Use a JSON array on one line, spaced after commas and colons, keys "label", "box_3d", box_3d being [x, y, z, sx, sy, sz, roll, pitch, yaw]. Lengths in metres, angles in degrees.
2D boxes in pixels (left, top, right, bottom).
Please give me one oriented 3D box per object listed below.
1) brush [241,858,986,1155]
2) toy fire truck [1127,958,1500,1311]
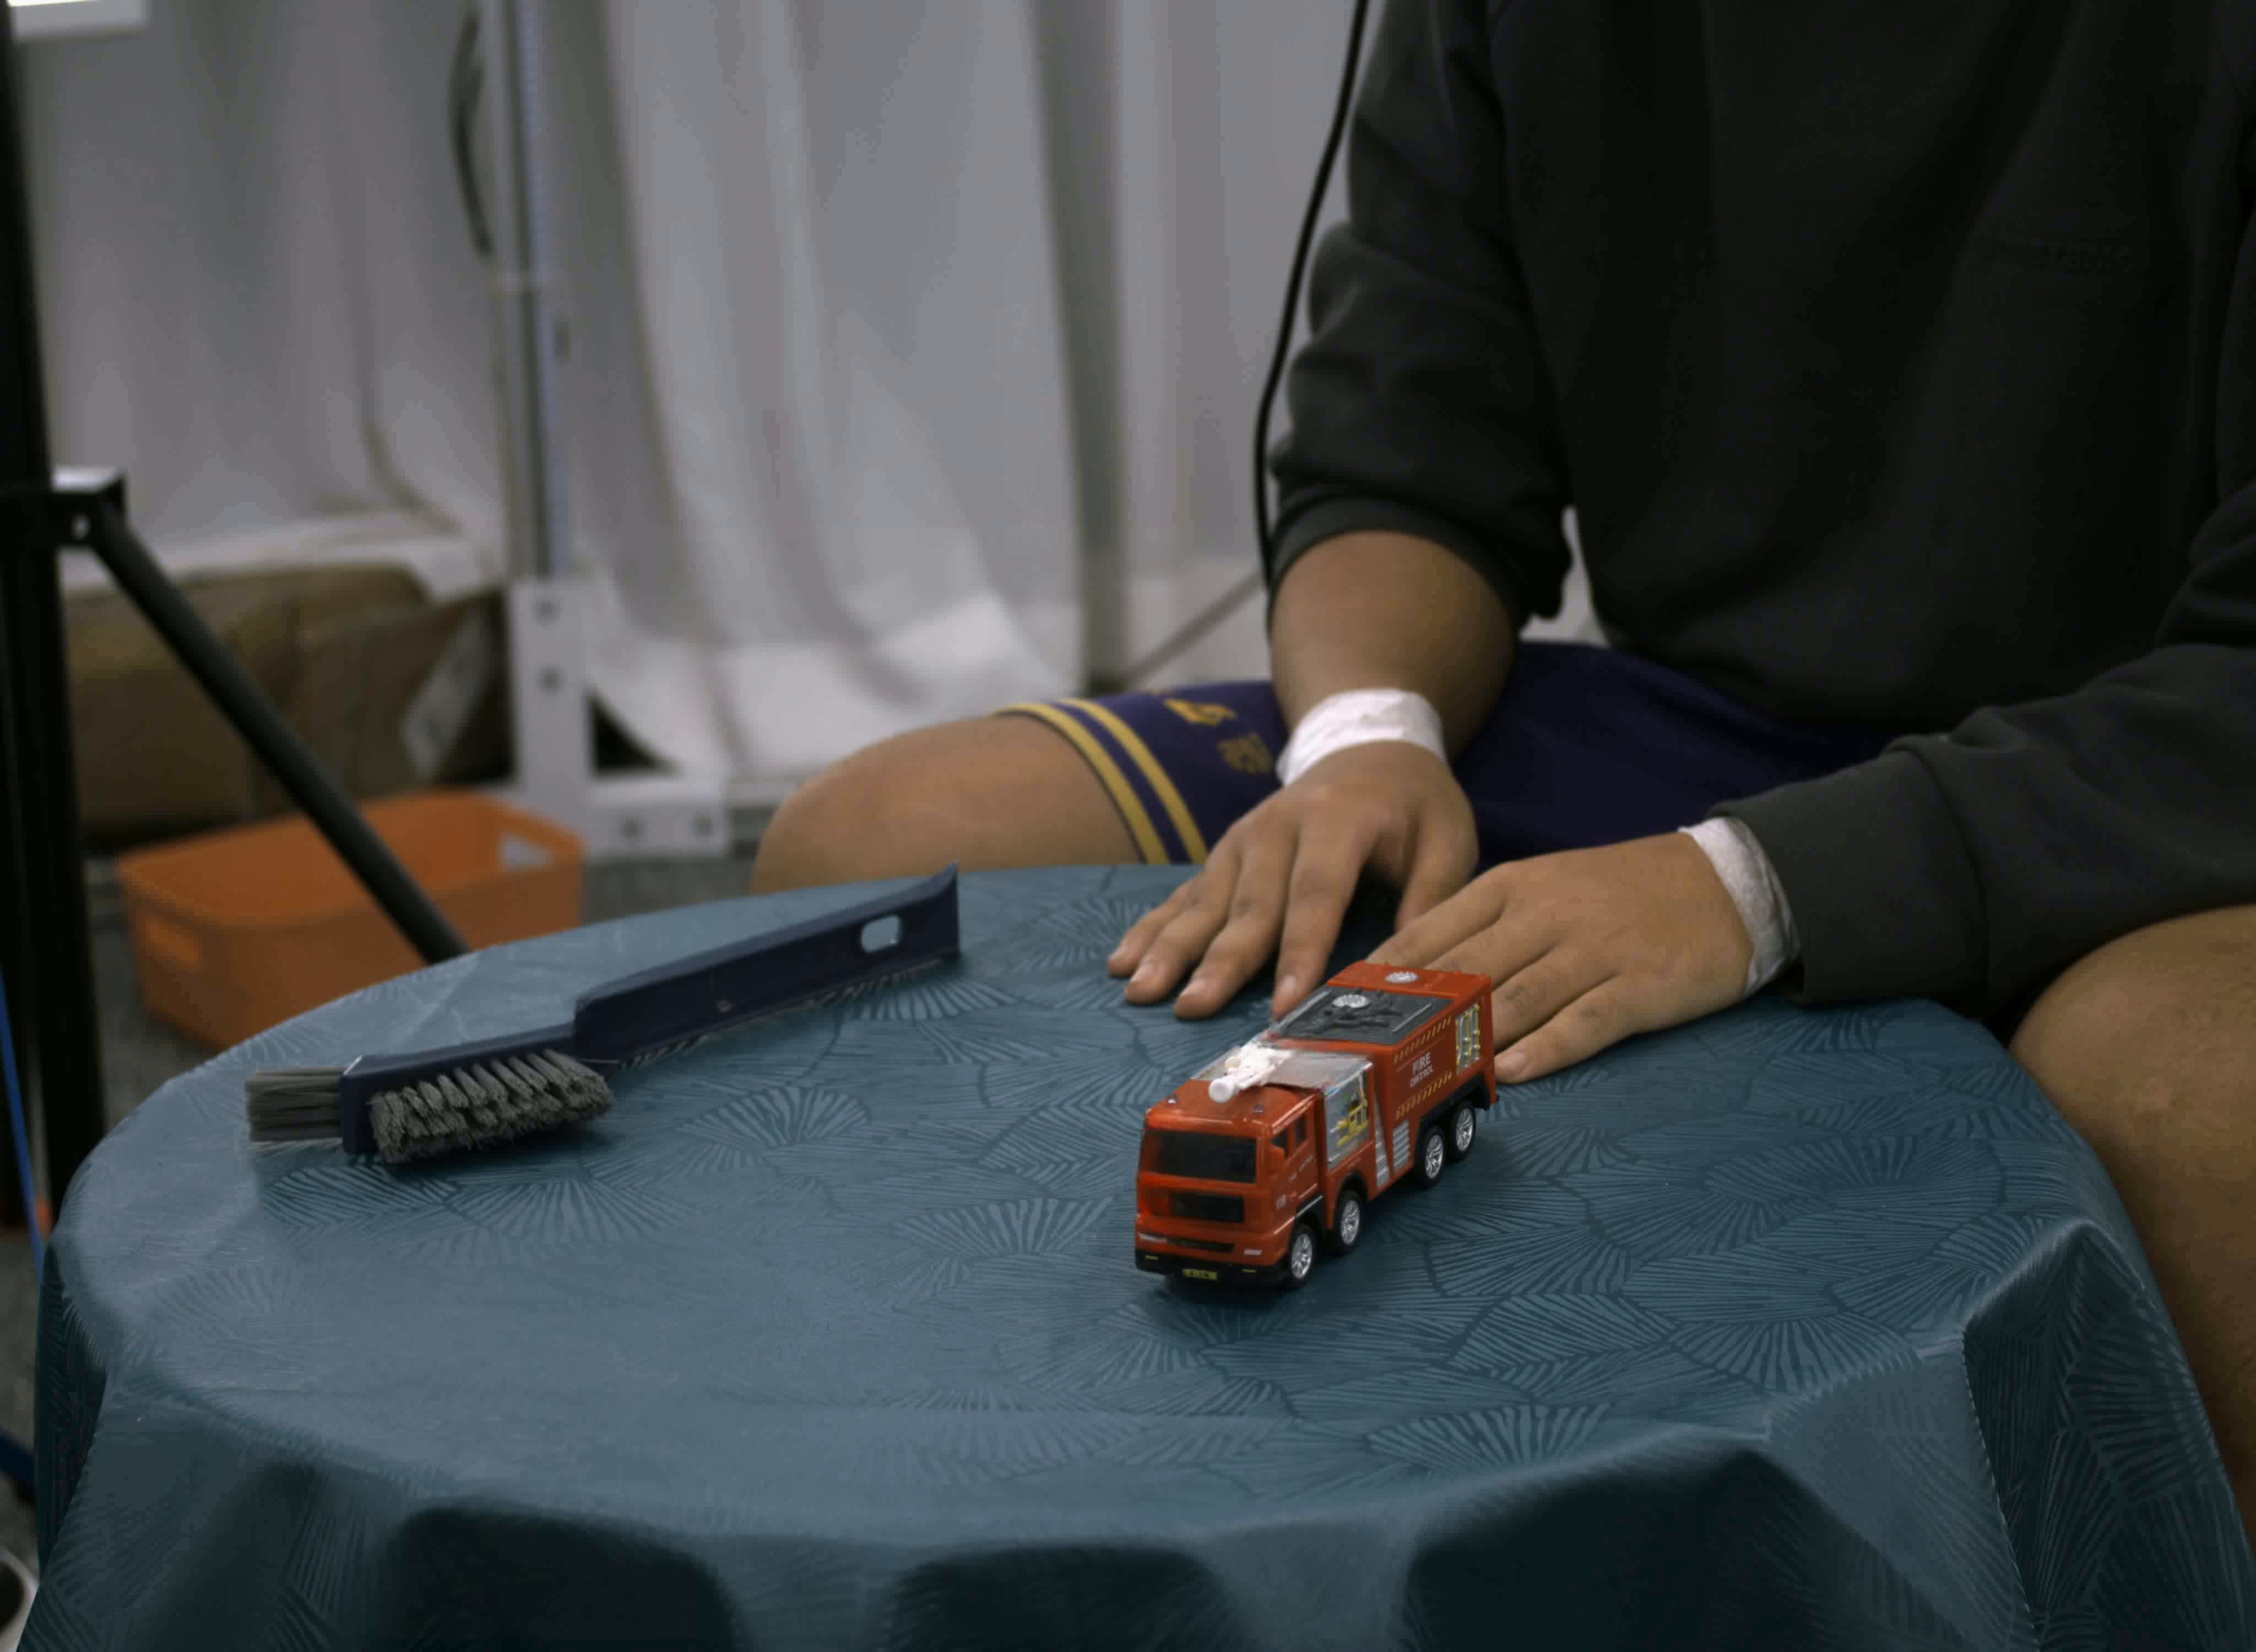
[{"label": "brush", "box_3d": [-0.155, 0.056, 1.710, 0.098, 0.033, 0.267, 8, 20, 38]}, {"label": "toy fire truck", "box_3d": [0.055, 0.085, 1.524, 0.055, 0.070, 0.165, 5, 17, 26]}]
